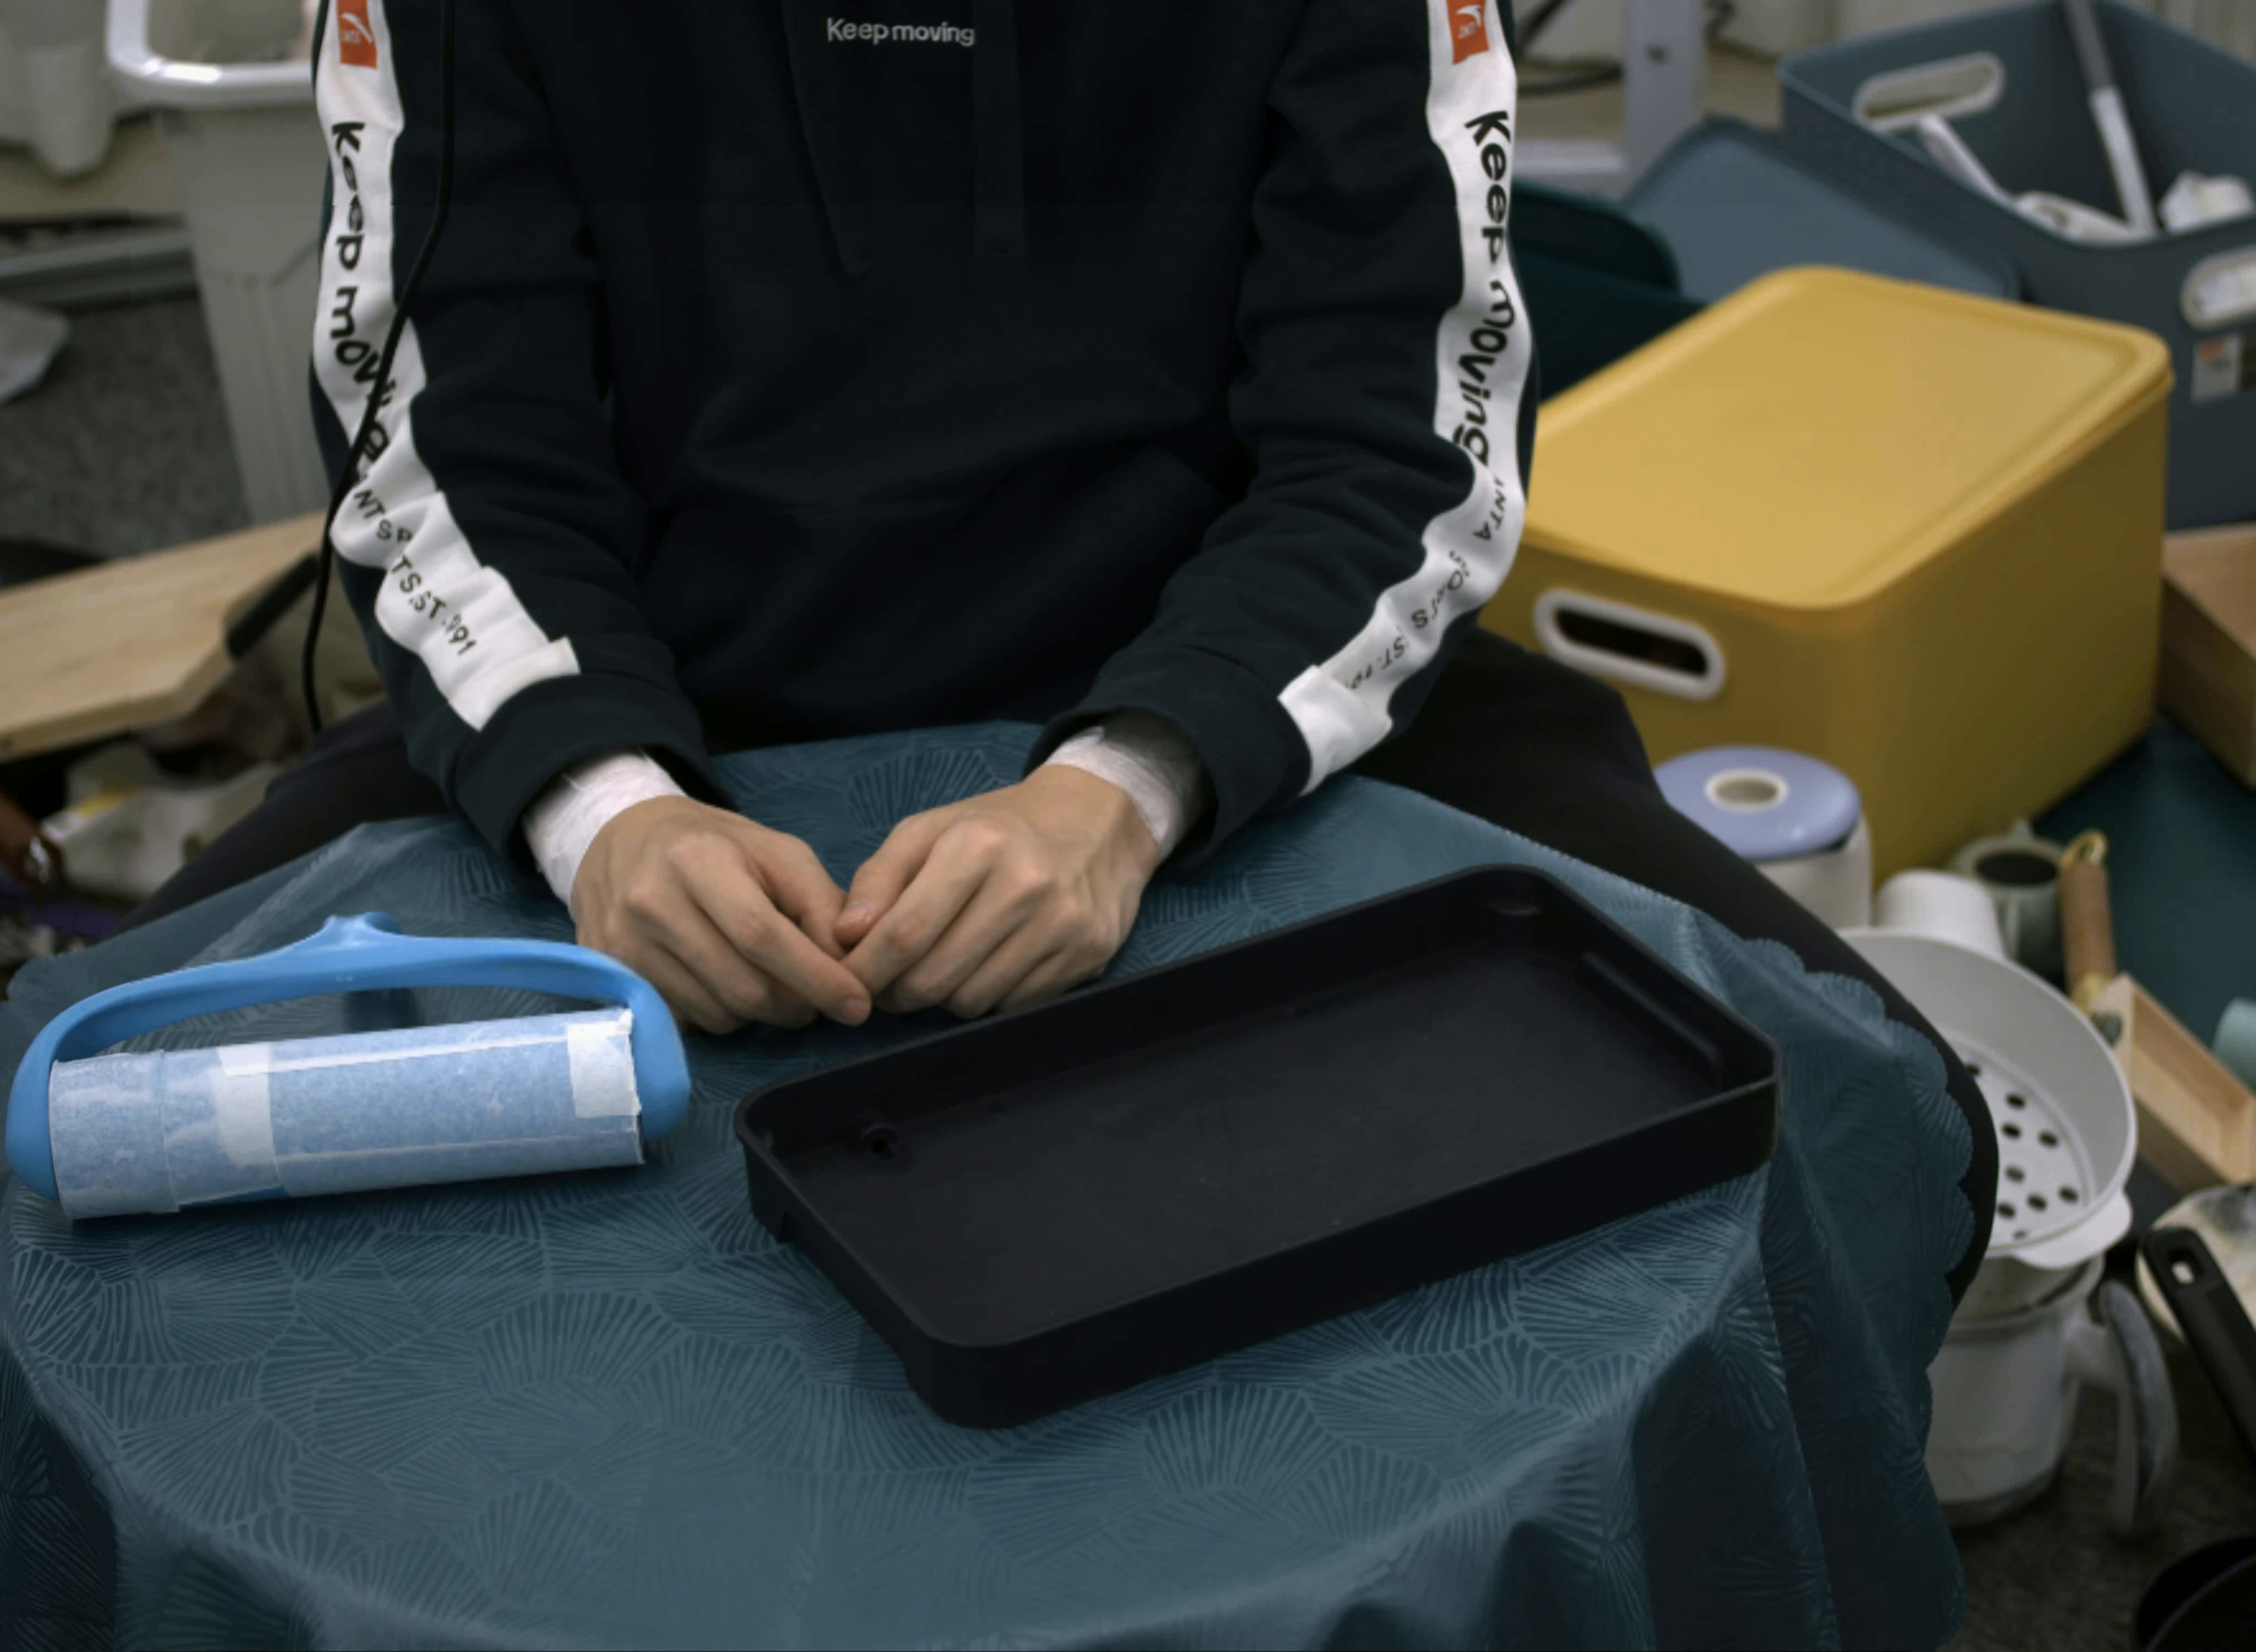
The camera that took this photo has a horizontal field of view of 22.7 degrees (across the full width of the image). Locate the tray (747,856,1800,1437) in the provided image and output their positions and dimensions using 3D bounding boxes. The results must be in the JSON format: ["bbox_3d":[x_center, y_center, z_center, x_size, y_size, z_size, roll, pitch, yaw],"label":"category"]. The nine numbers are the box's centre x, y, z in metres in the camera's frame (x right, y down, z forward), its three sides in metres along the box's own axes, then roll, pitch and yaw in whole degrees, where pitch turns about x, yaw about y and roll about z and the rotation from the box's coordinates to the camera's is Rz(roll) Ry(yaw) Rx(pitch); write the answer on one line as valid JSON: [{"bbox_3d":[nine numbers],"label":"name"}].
[{"bbox_3d":[0.049,0.100,1.860,0.320,0.036,0.185,-18,31,-25],"label":"tray"}]

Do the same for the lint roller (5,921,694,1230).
[{"bbox_3d":[-0.267,0.068,1.928,0.228,0.067,0.182,-8,29,-6],"label":"lint roller"}]
